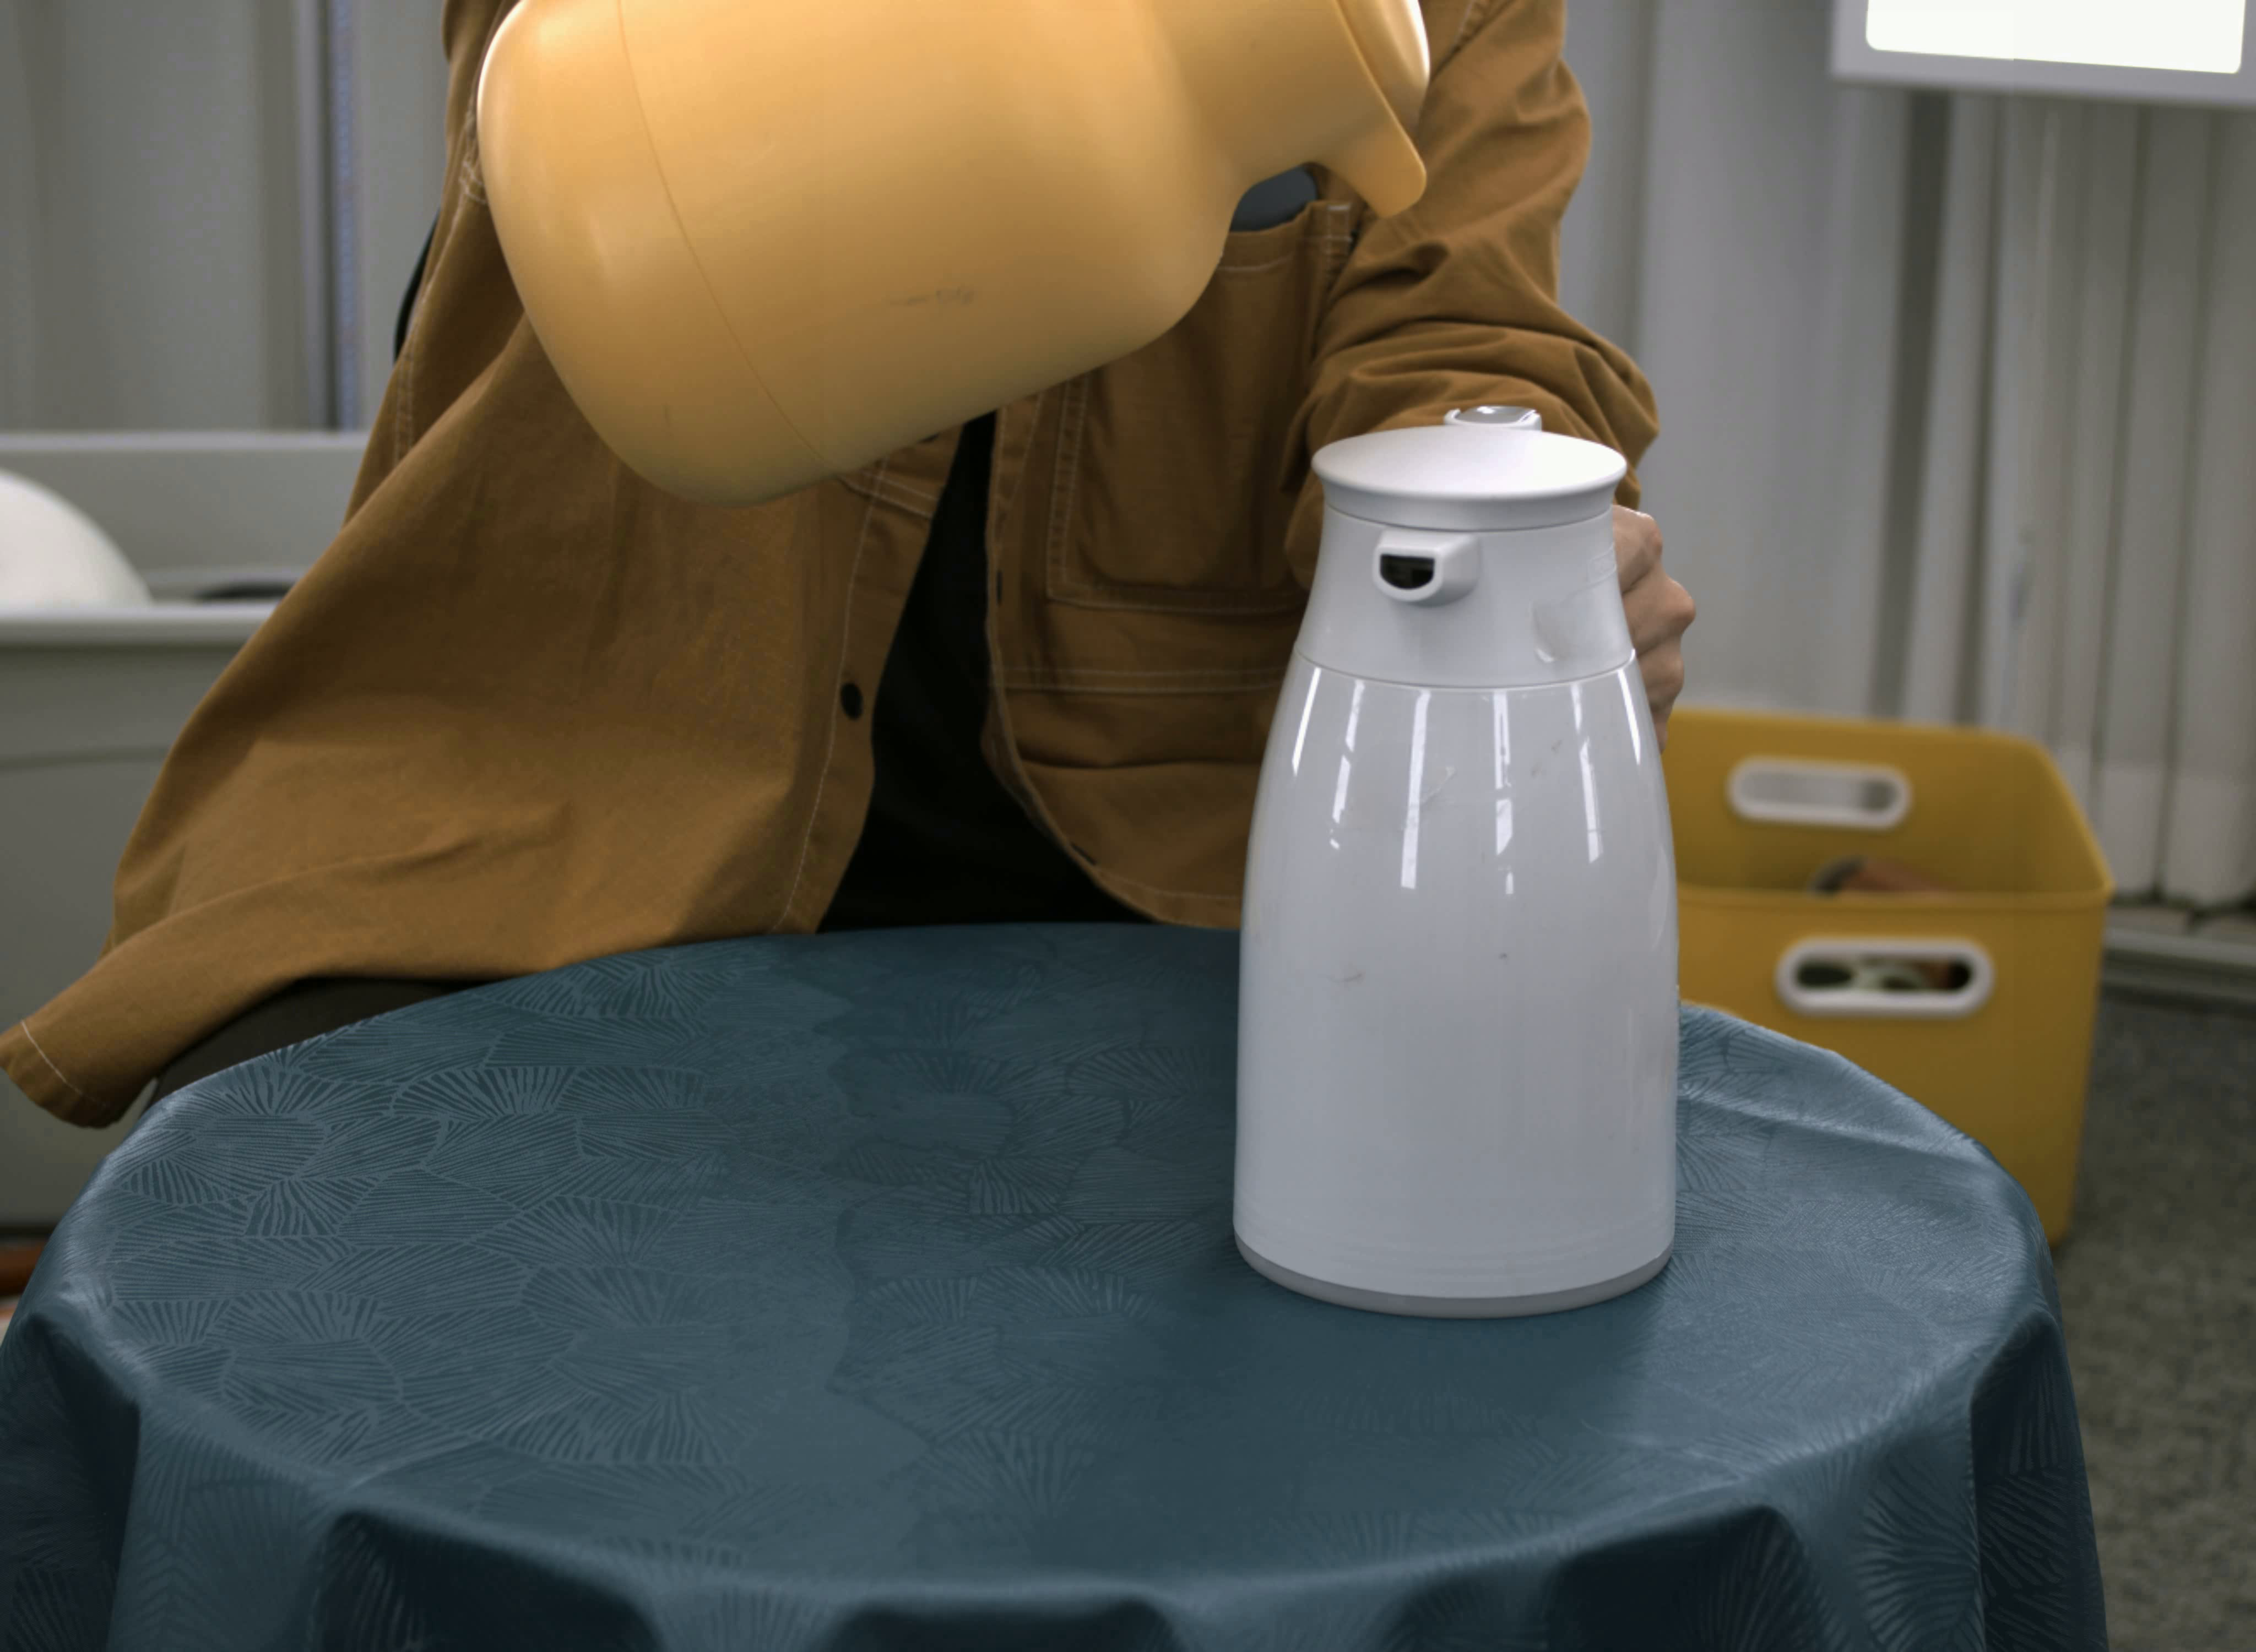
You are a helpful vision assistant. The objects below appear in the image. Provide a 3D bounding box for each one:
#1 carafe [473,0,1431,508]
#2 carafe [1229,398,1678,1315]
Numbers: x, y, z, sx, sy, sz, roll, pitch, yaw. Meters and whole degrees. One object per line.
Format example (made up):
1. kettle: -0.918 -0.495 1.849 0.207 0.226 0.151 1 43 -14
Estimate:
1. carafe: -0.053 -0.220 1.482 0.259 0.204 0.162 -22 21 9
2. carafe: 0.103 0.000 1.564 0.131 0.250 0.168 5 16 17
